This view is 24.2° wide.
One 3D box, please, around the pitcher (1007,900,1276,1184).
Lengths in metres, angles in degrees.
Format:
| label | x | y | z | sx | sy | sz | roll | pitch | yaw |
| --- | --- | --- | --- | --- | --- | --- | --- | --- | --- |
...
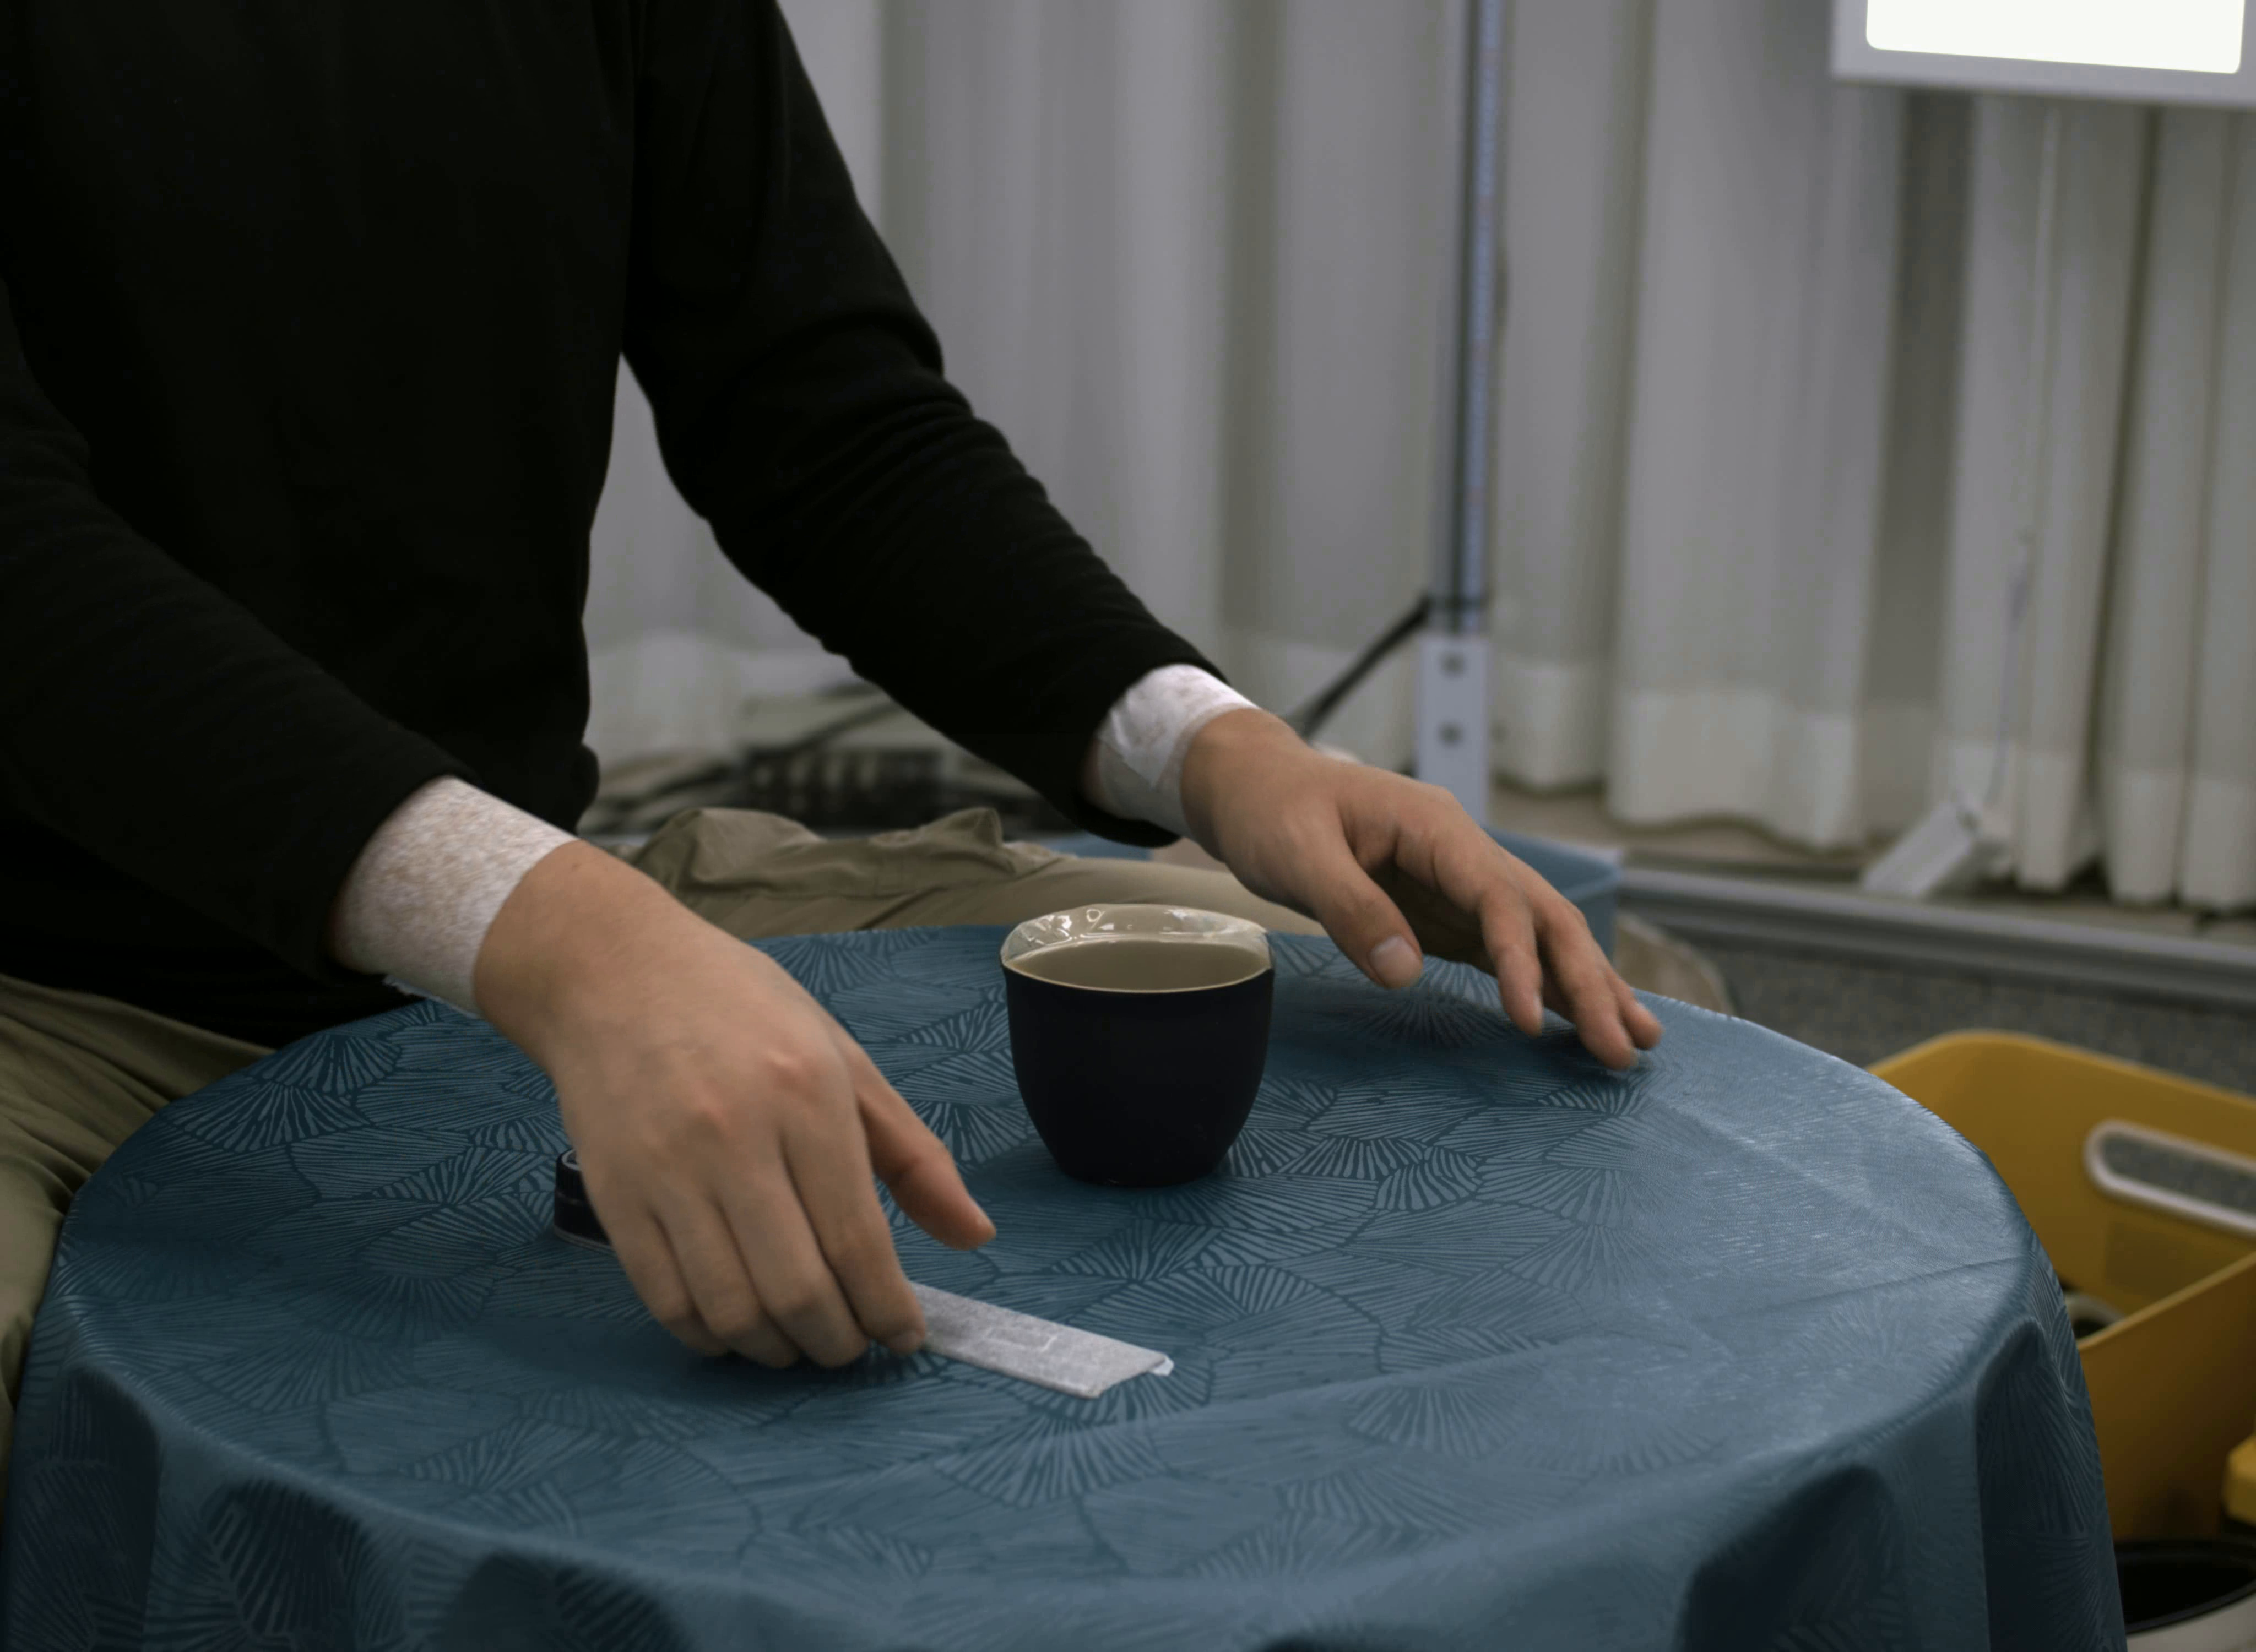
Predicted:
| label | x | y | z | sx | sy | sz | roll | pitch | yaw |
| --- | --- | --- | --- | --- | --- | --- | --- | --- | --- |
| pitcher | 0.002 | 0.069 | 1.641 | 0.084 | 0.072 | 0.095 | -9 | 19 | -28 |

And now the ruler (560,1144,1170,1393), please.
| label | x | y | z | sx | sy | sz | roll | pitch | yaw |
| --- | --- | --- | --- | --- | --- | --- | --- | --- | --- |
| ruler | -0.083 | 0.126 | 1.525 | 0.215 | 0.024 | 0.038 | 11 | 25 | 37 |
